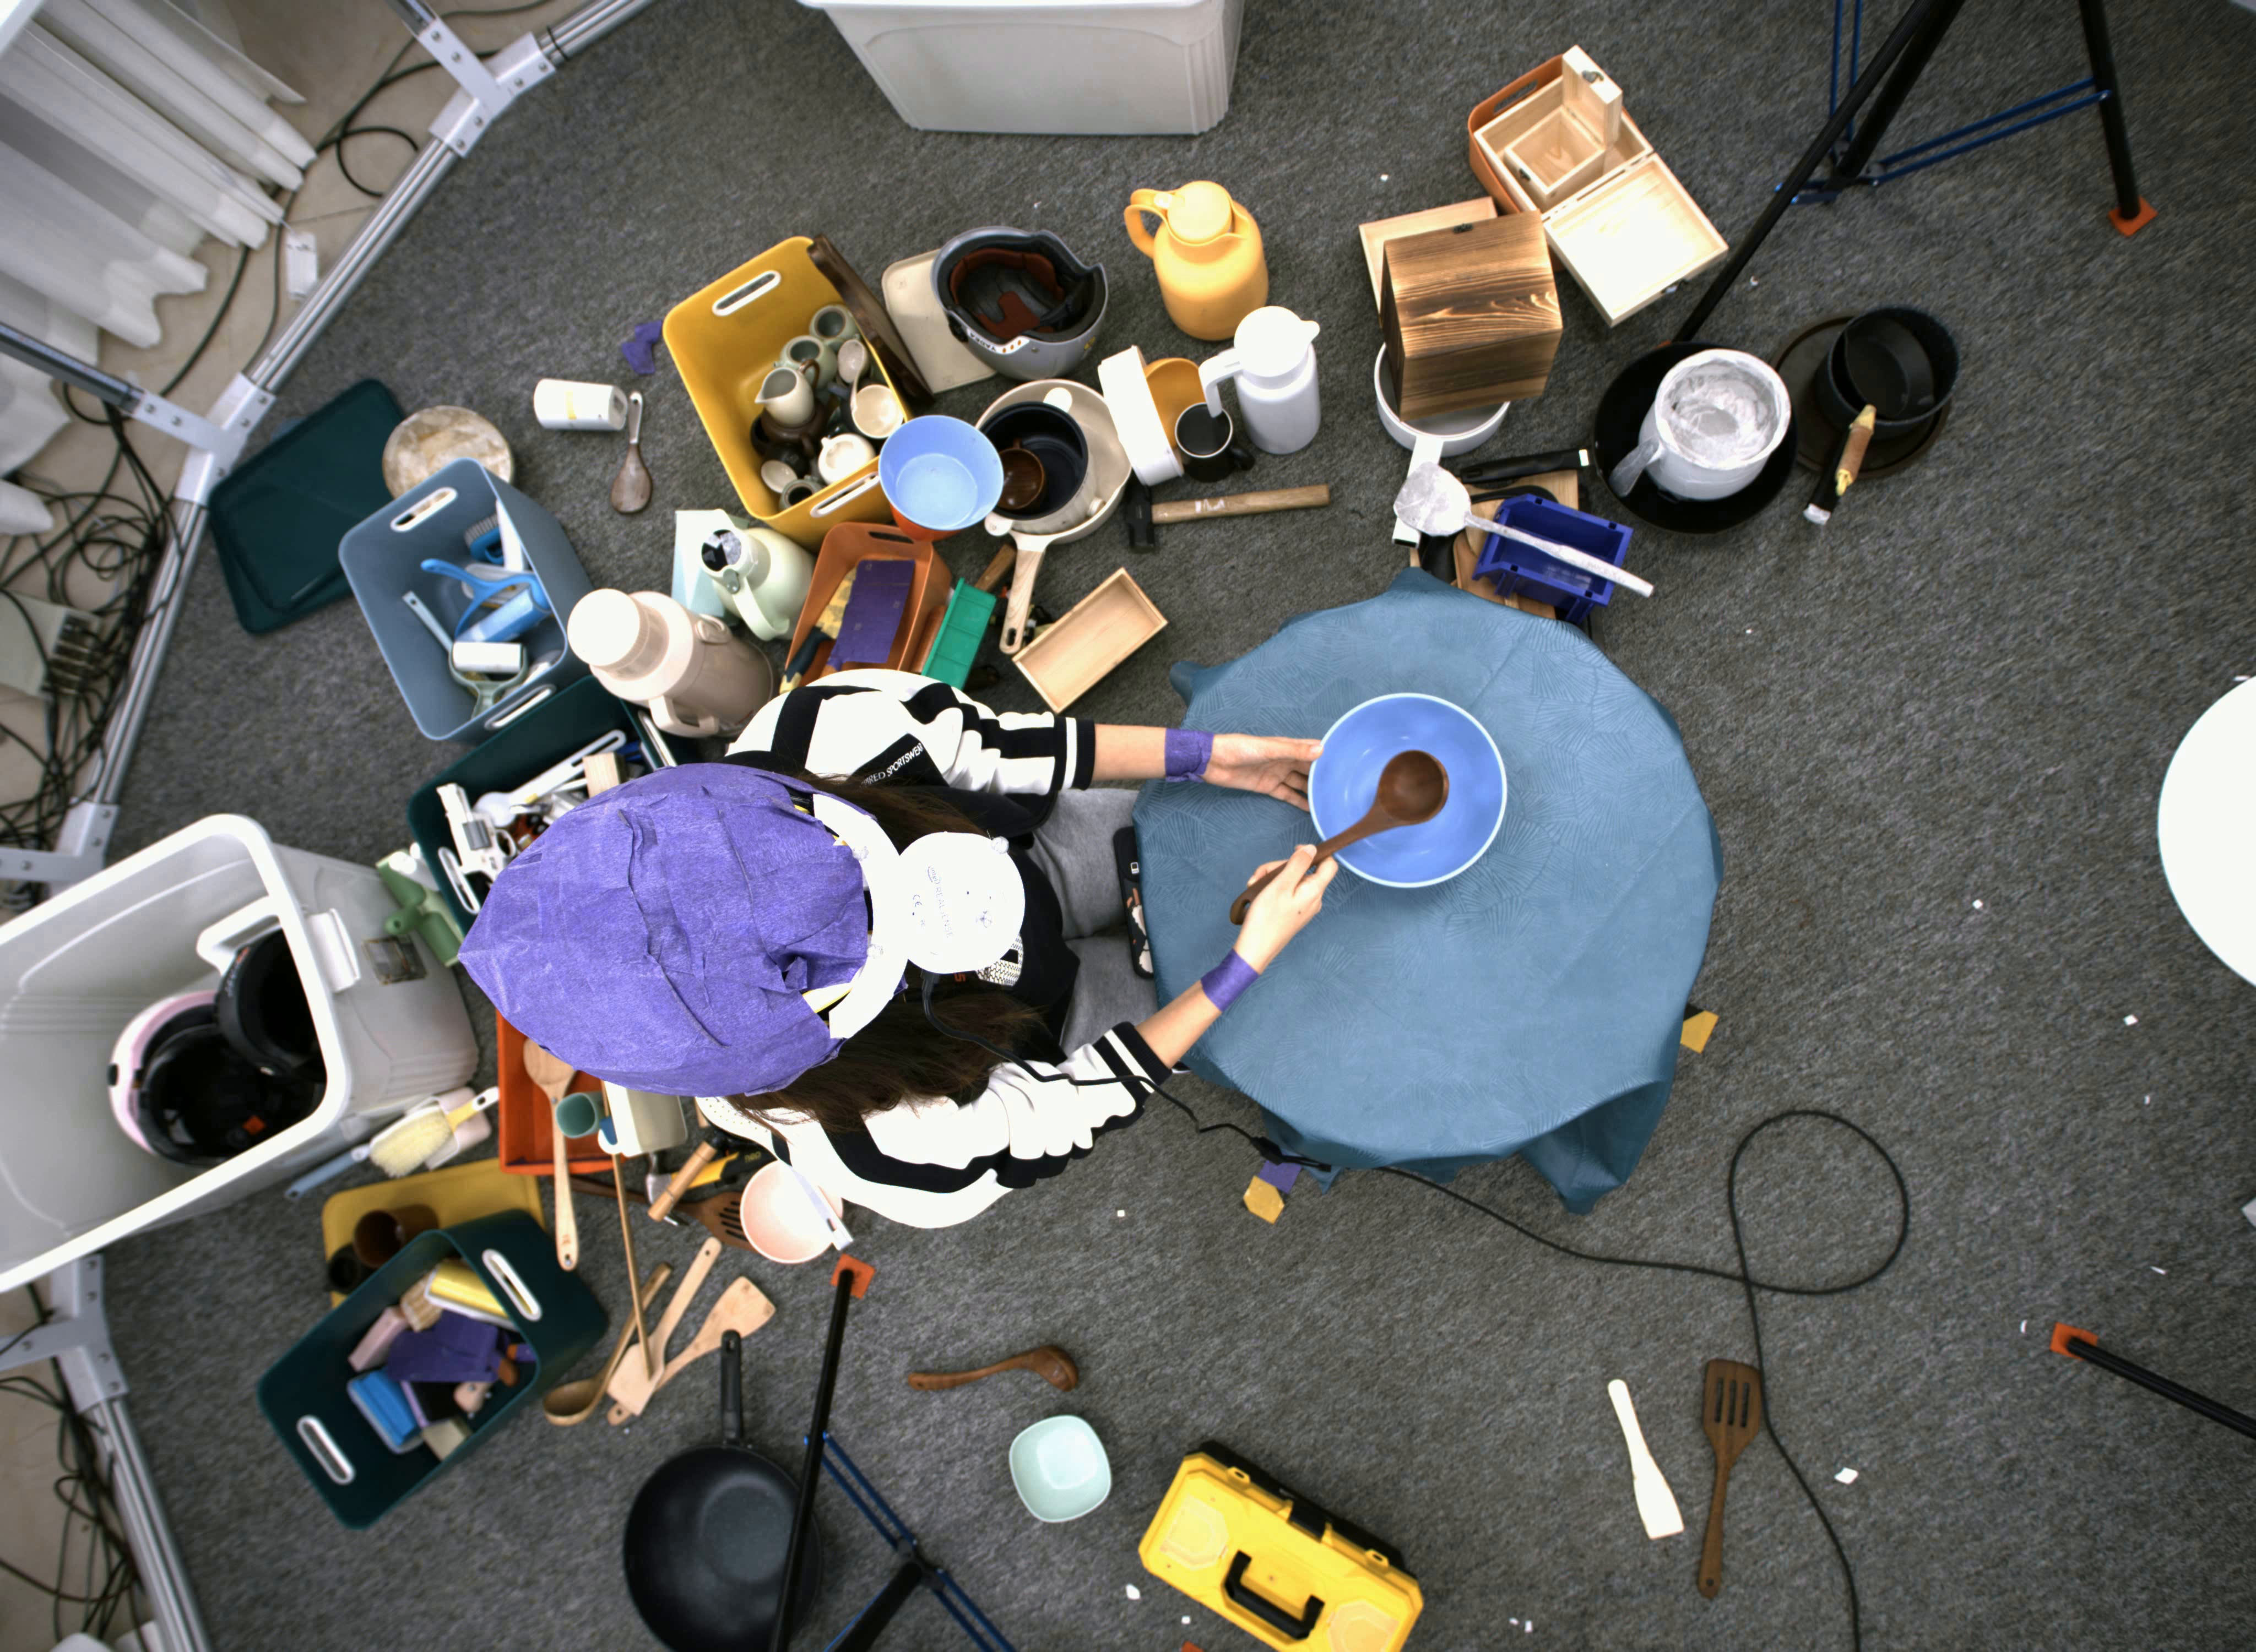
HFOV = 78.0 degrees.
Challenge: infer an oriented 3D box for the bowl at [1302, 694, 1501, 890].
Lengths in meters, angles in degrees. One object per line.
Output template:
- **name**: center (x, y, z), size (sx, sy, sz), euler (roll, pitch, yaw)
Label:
- **bowl**: center (0.277, -0.035, 1.418), size (0.197, 0.095, 0.196), euler (0, 91, 6)

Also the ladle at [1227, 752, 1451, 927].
- **ladle**: center (0.204, 0.013, 1.357), size (0.259, 0.066, 0.075), euler (-30, 50, -8)
